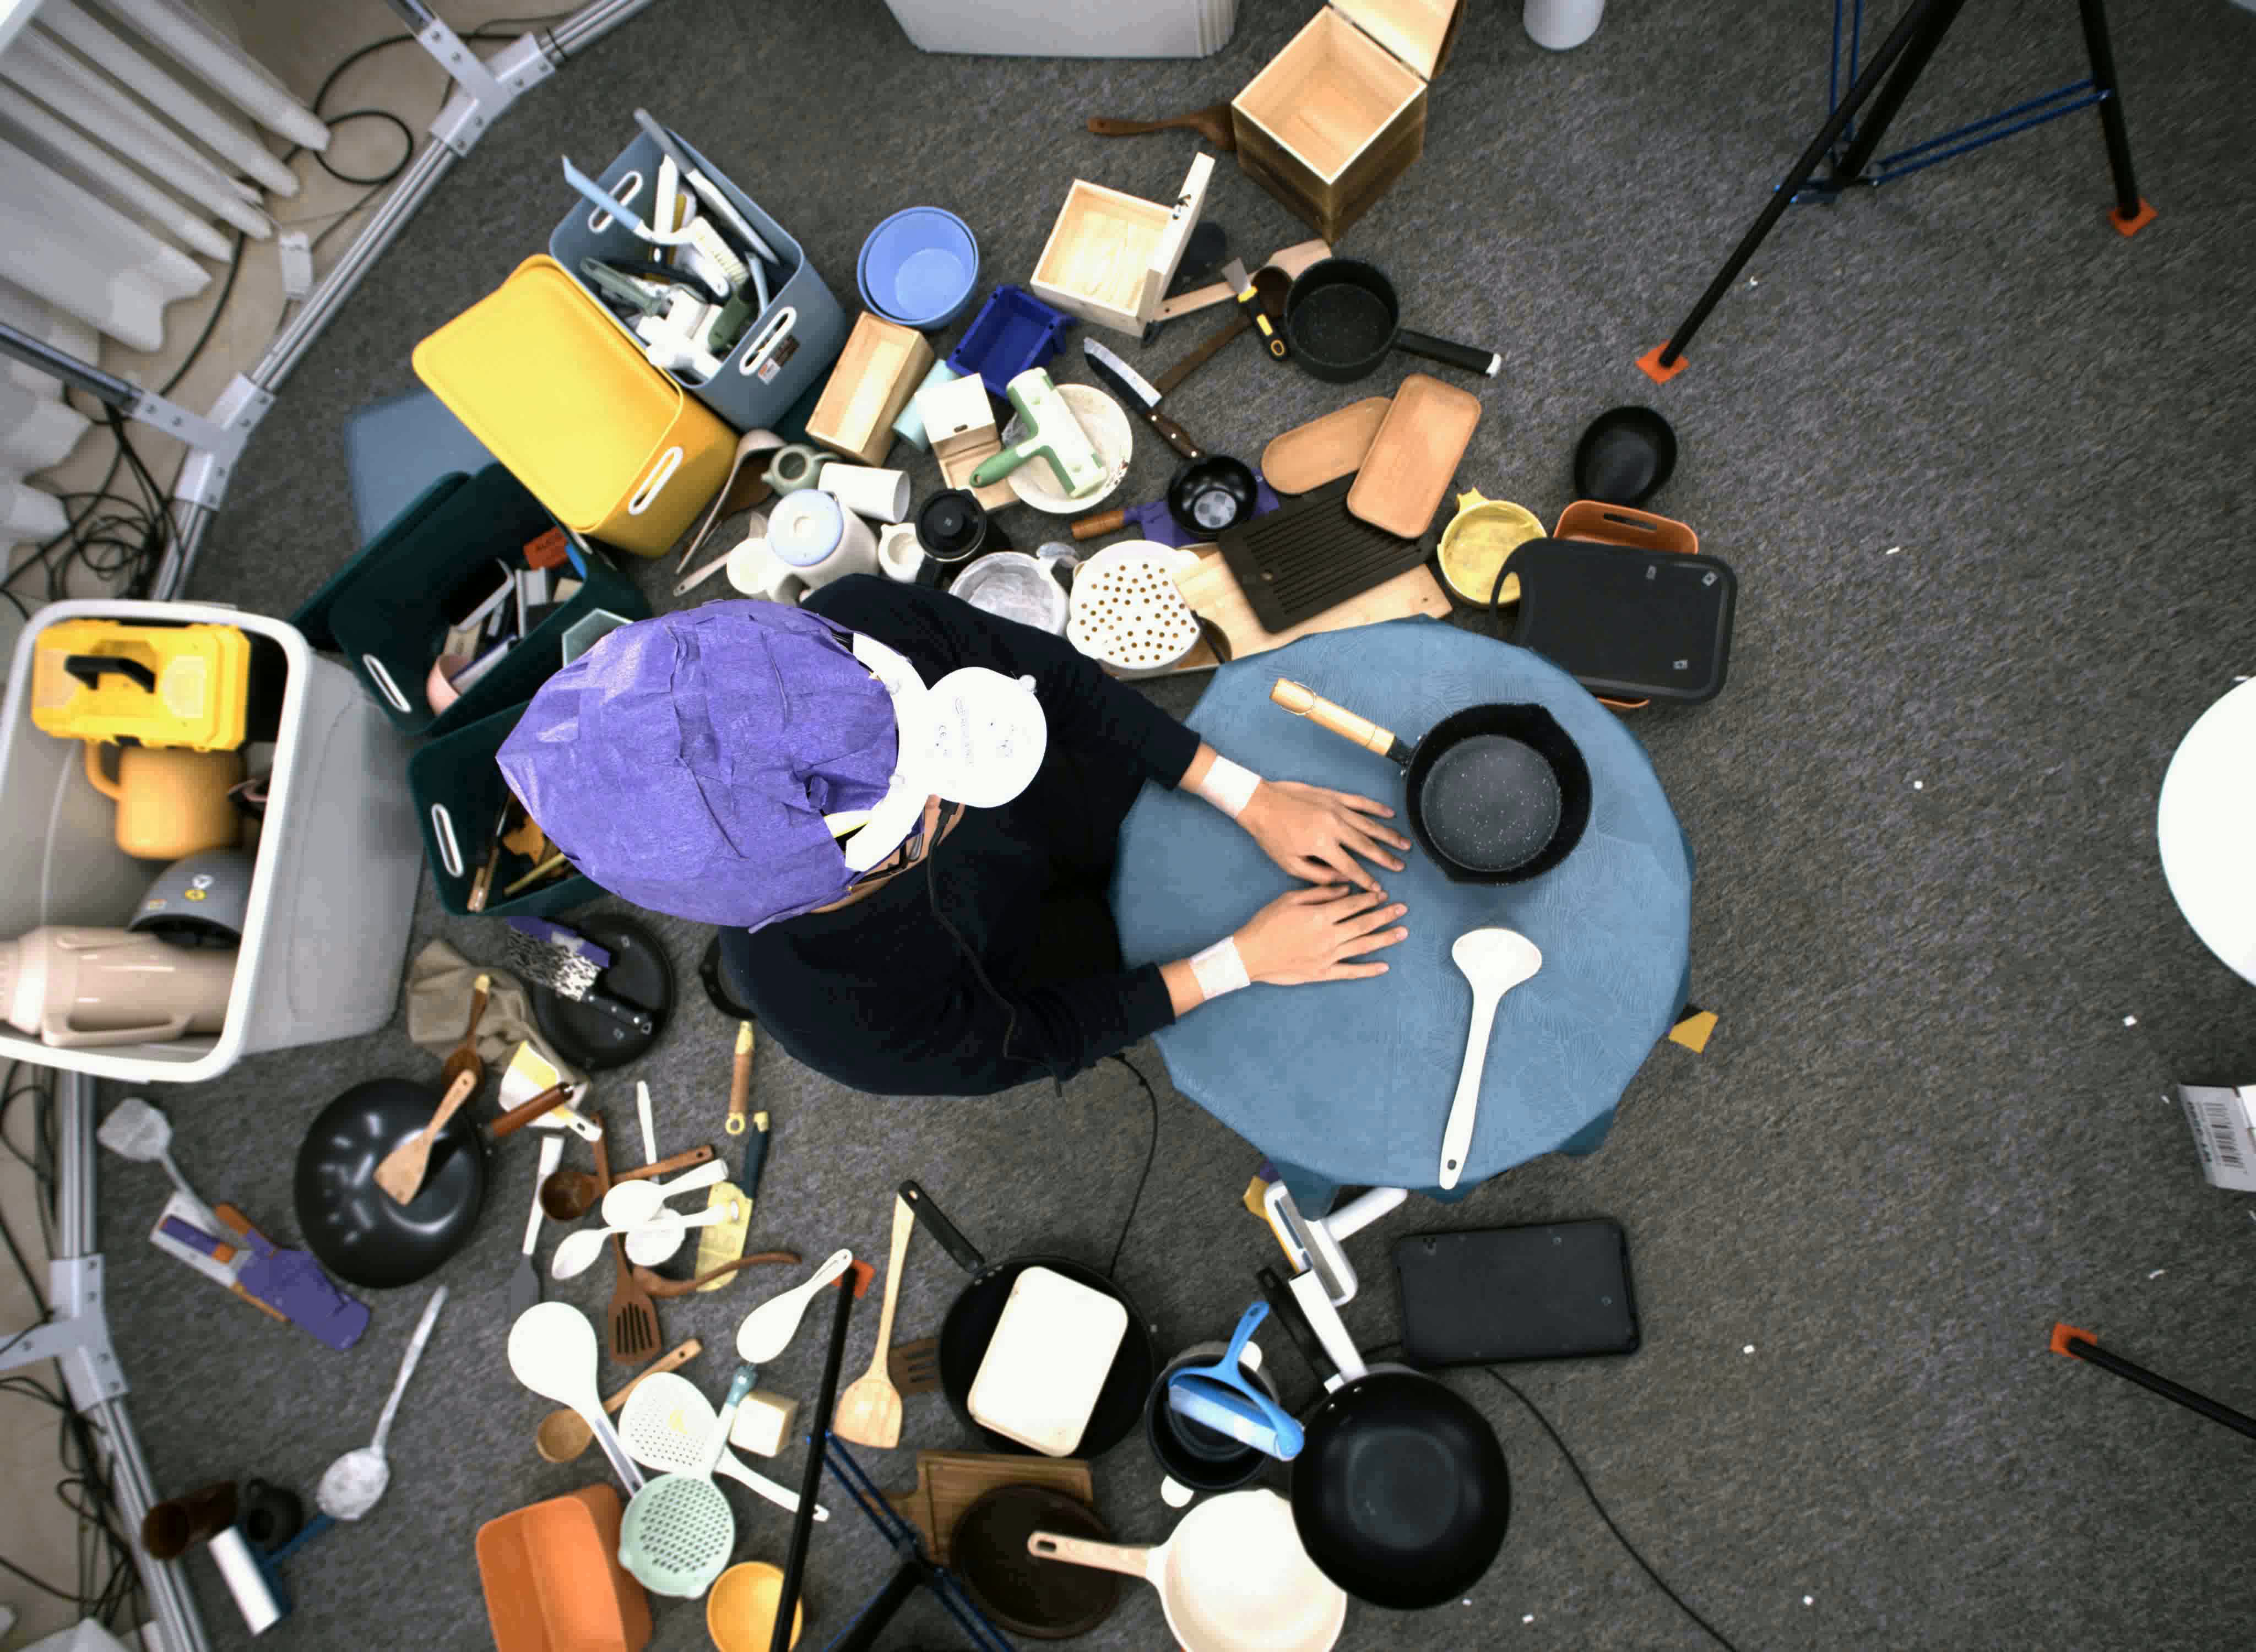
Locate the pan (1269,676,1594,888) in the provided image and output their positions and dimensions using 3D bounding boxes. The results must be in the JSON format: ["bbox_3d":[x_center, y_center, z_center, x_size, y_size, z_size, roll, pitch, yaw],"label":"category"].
[{"bbox_3d":[0.301,-0.064,1.407,0.342,0.108,0.208,25,92,9],"label":"pan"}]

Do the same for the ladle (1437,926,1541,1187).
[{"bbox_3d":[0.353,0.235,1.401,0.089,0.069,0.274,12,89,4],"label":"ladle"}]
